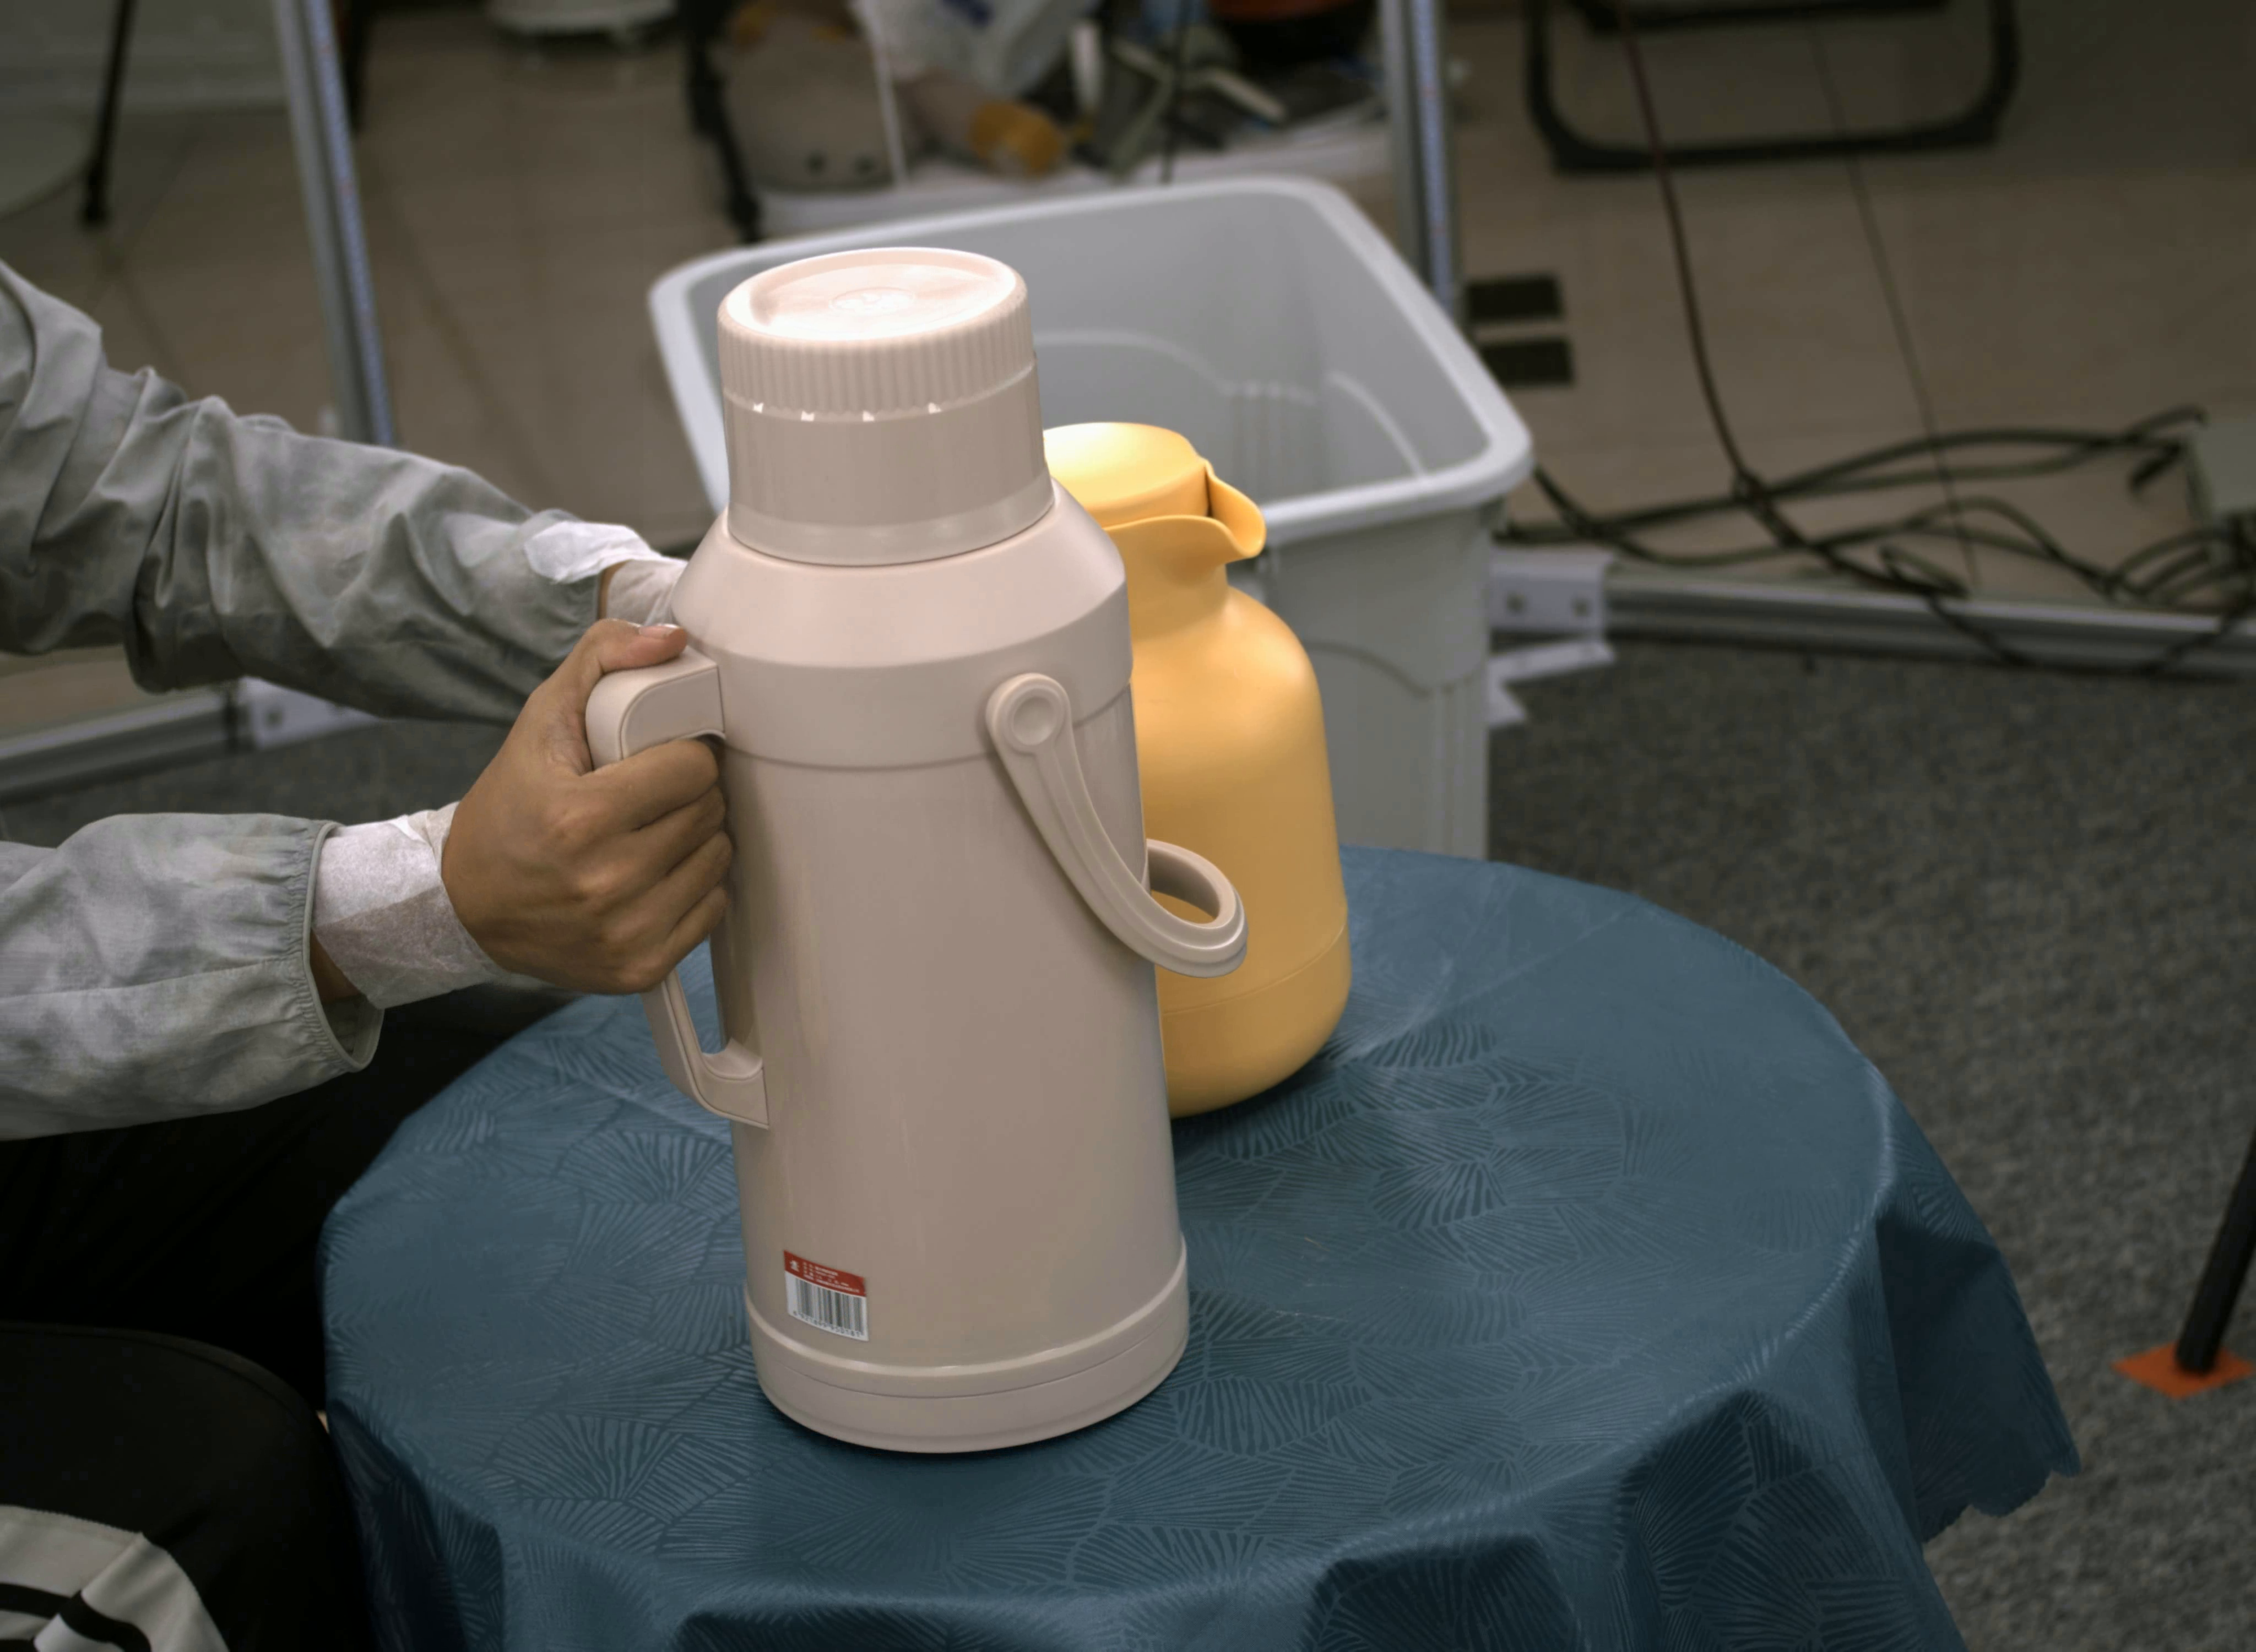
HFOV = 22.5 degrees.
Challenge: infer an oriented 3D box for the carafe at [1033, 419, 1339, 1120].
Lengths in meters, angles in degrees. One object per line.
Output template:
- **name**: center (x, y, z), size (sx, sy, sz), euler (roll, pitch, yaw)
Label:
- **carafe**: center (-0.019, -0.030, 2.203), size (0.201, 0.264, 0.162), euler (13, 29, 33)

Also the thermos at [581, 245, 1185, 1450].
- **thermos**: center (-0.085, 0.009, 1.965), size (0.206, 0.413, 0.173), euler (-18, 29, -27)
